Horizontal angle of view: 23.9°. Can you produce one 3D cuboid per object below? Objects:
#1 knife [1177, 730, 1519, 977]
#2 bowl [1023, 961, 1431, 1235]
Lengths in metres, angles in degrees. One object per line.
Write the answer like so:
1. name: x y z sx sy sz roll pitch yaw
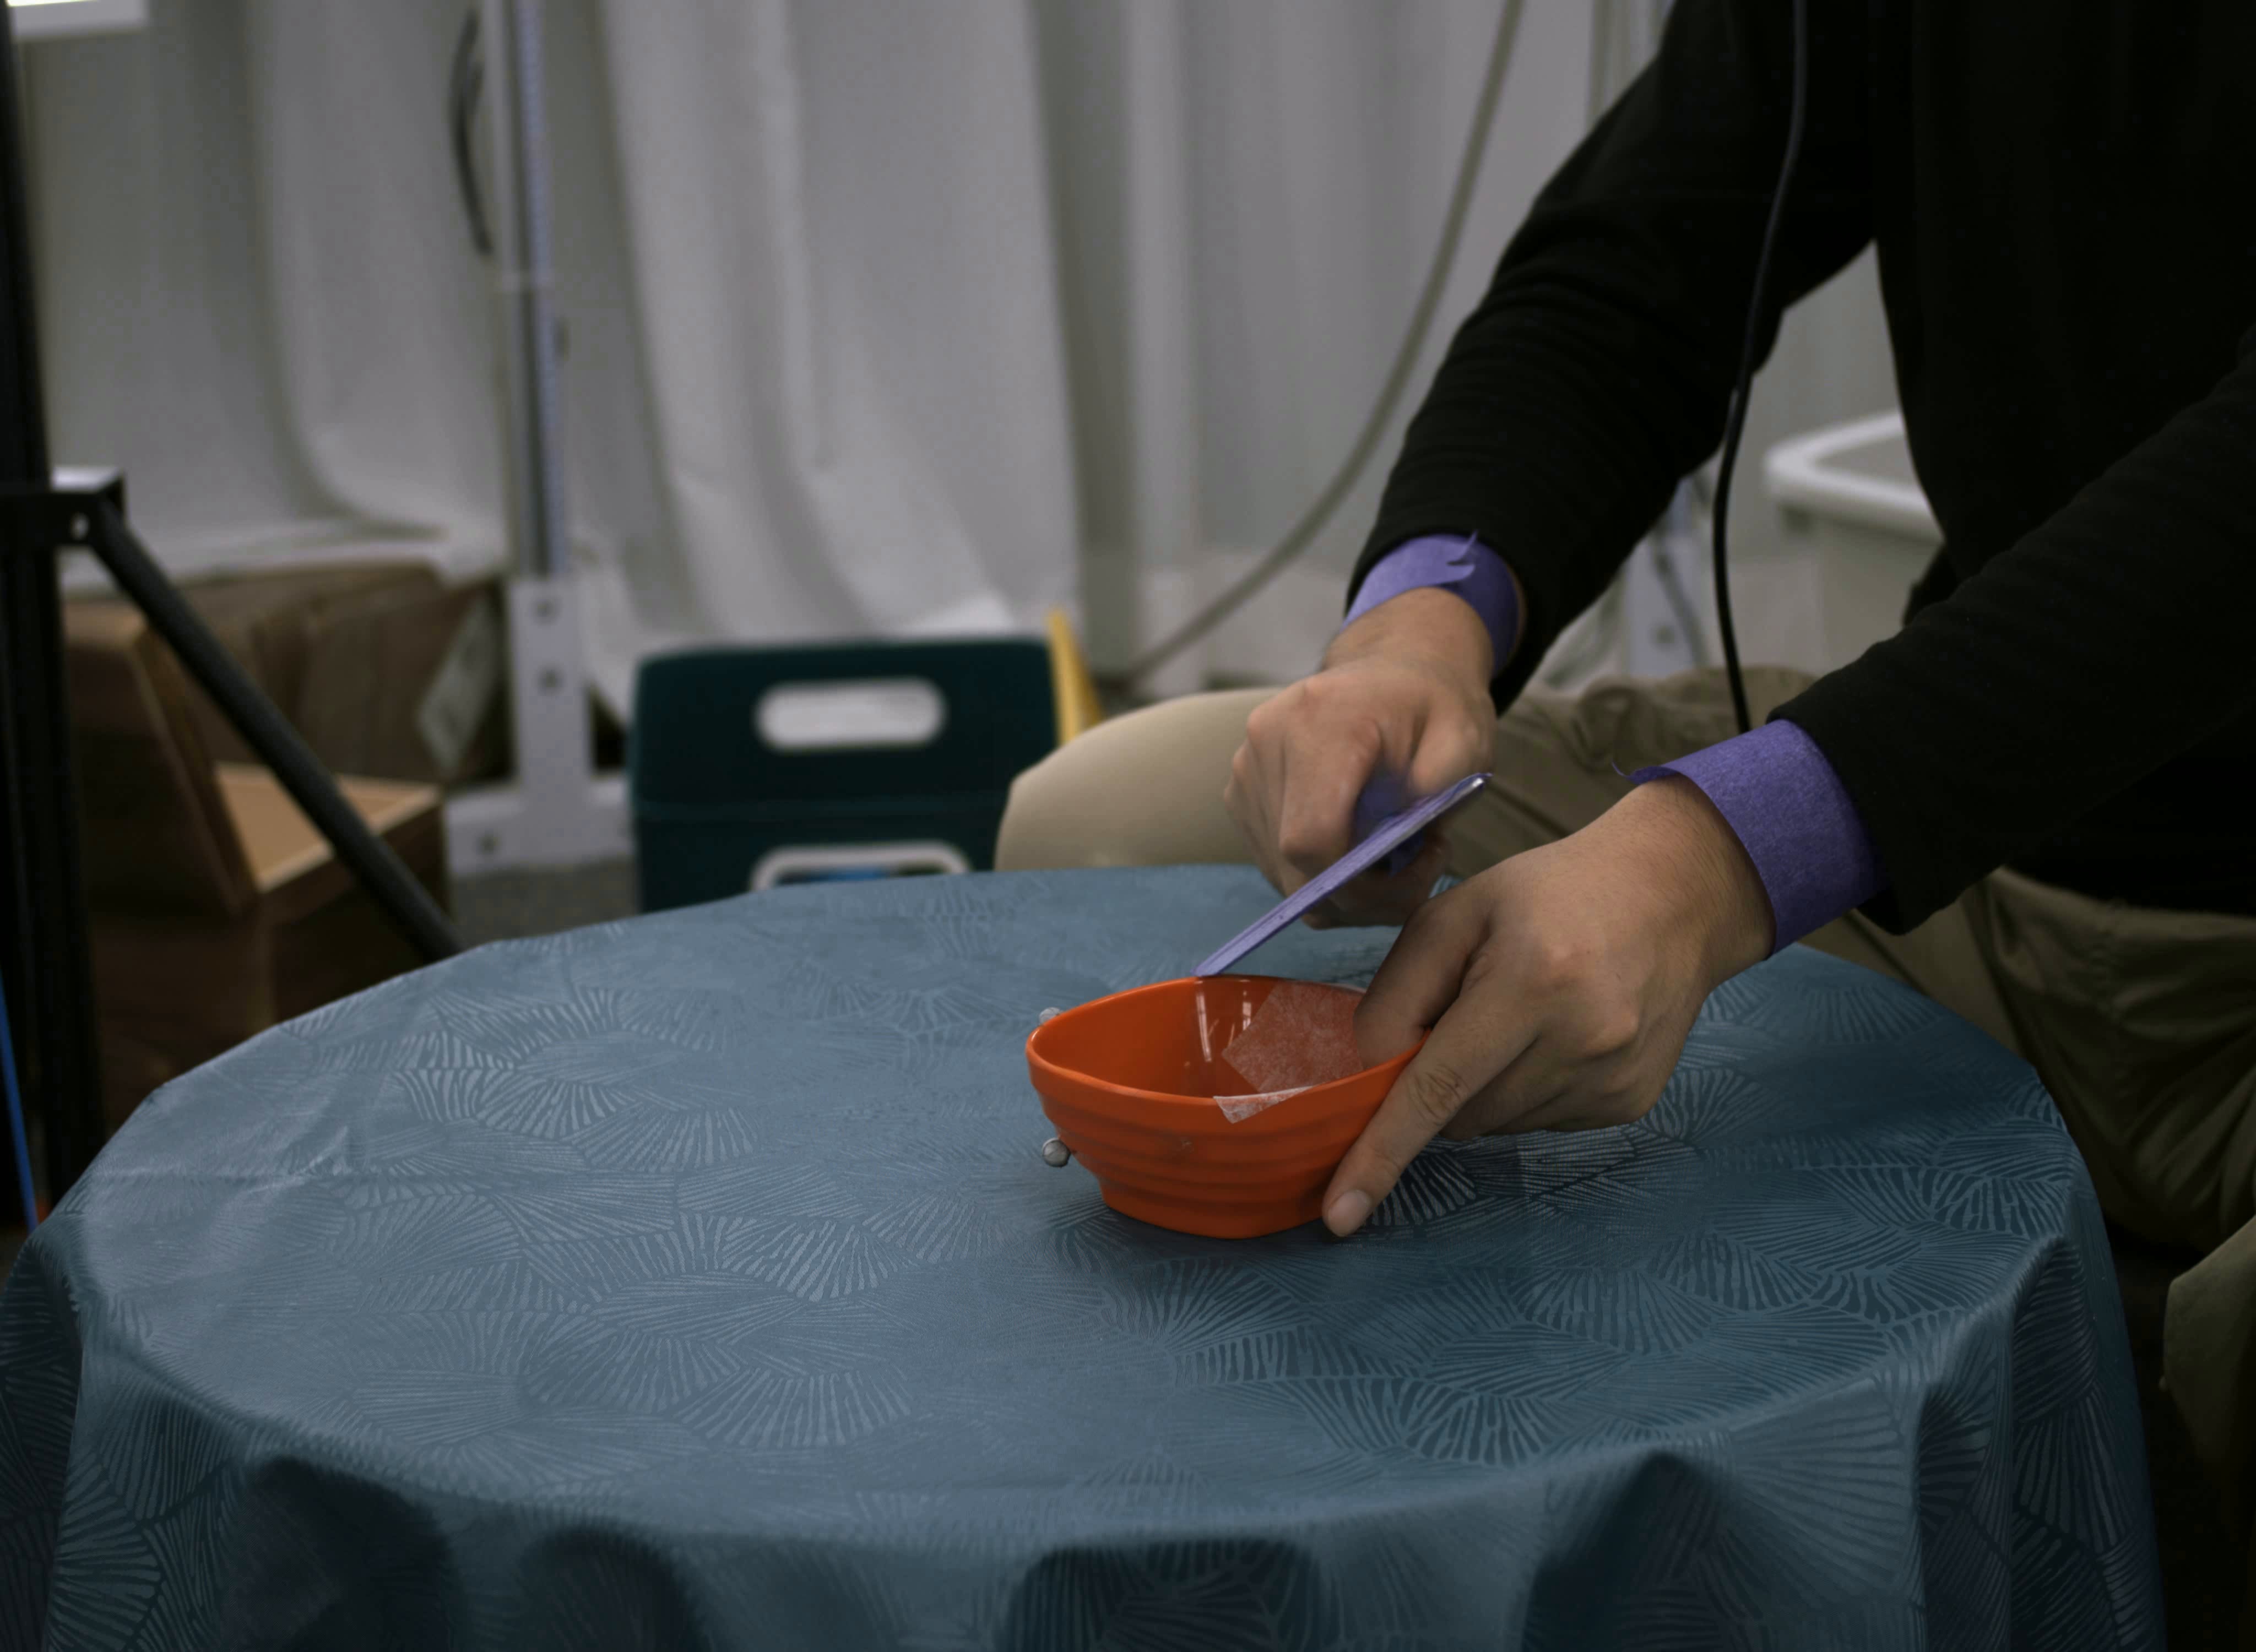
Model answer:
1. knife: 0.057 0.013 1.605 0.103 0.032 0.315 -35 -2 -4
2. bowl: 0.030 0.081 1.540 0.118 0.051 0.119 -4 17 0
